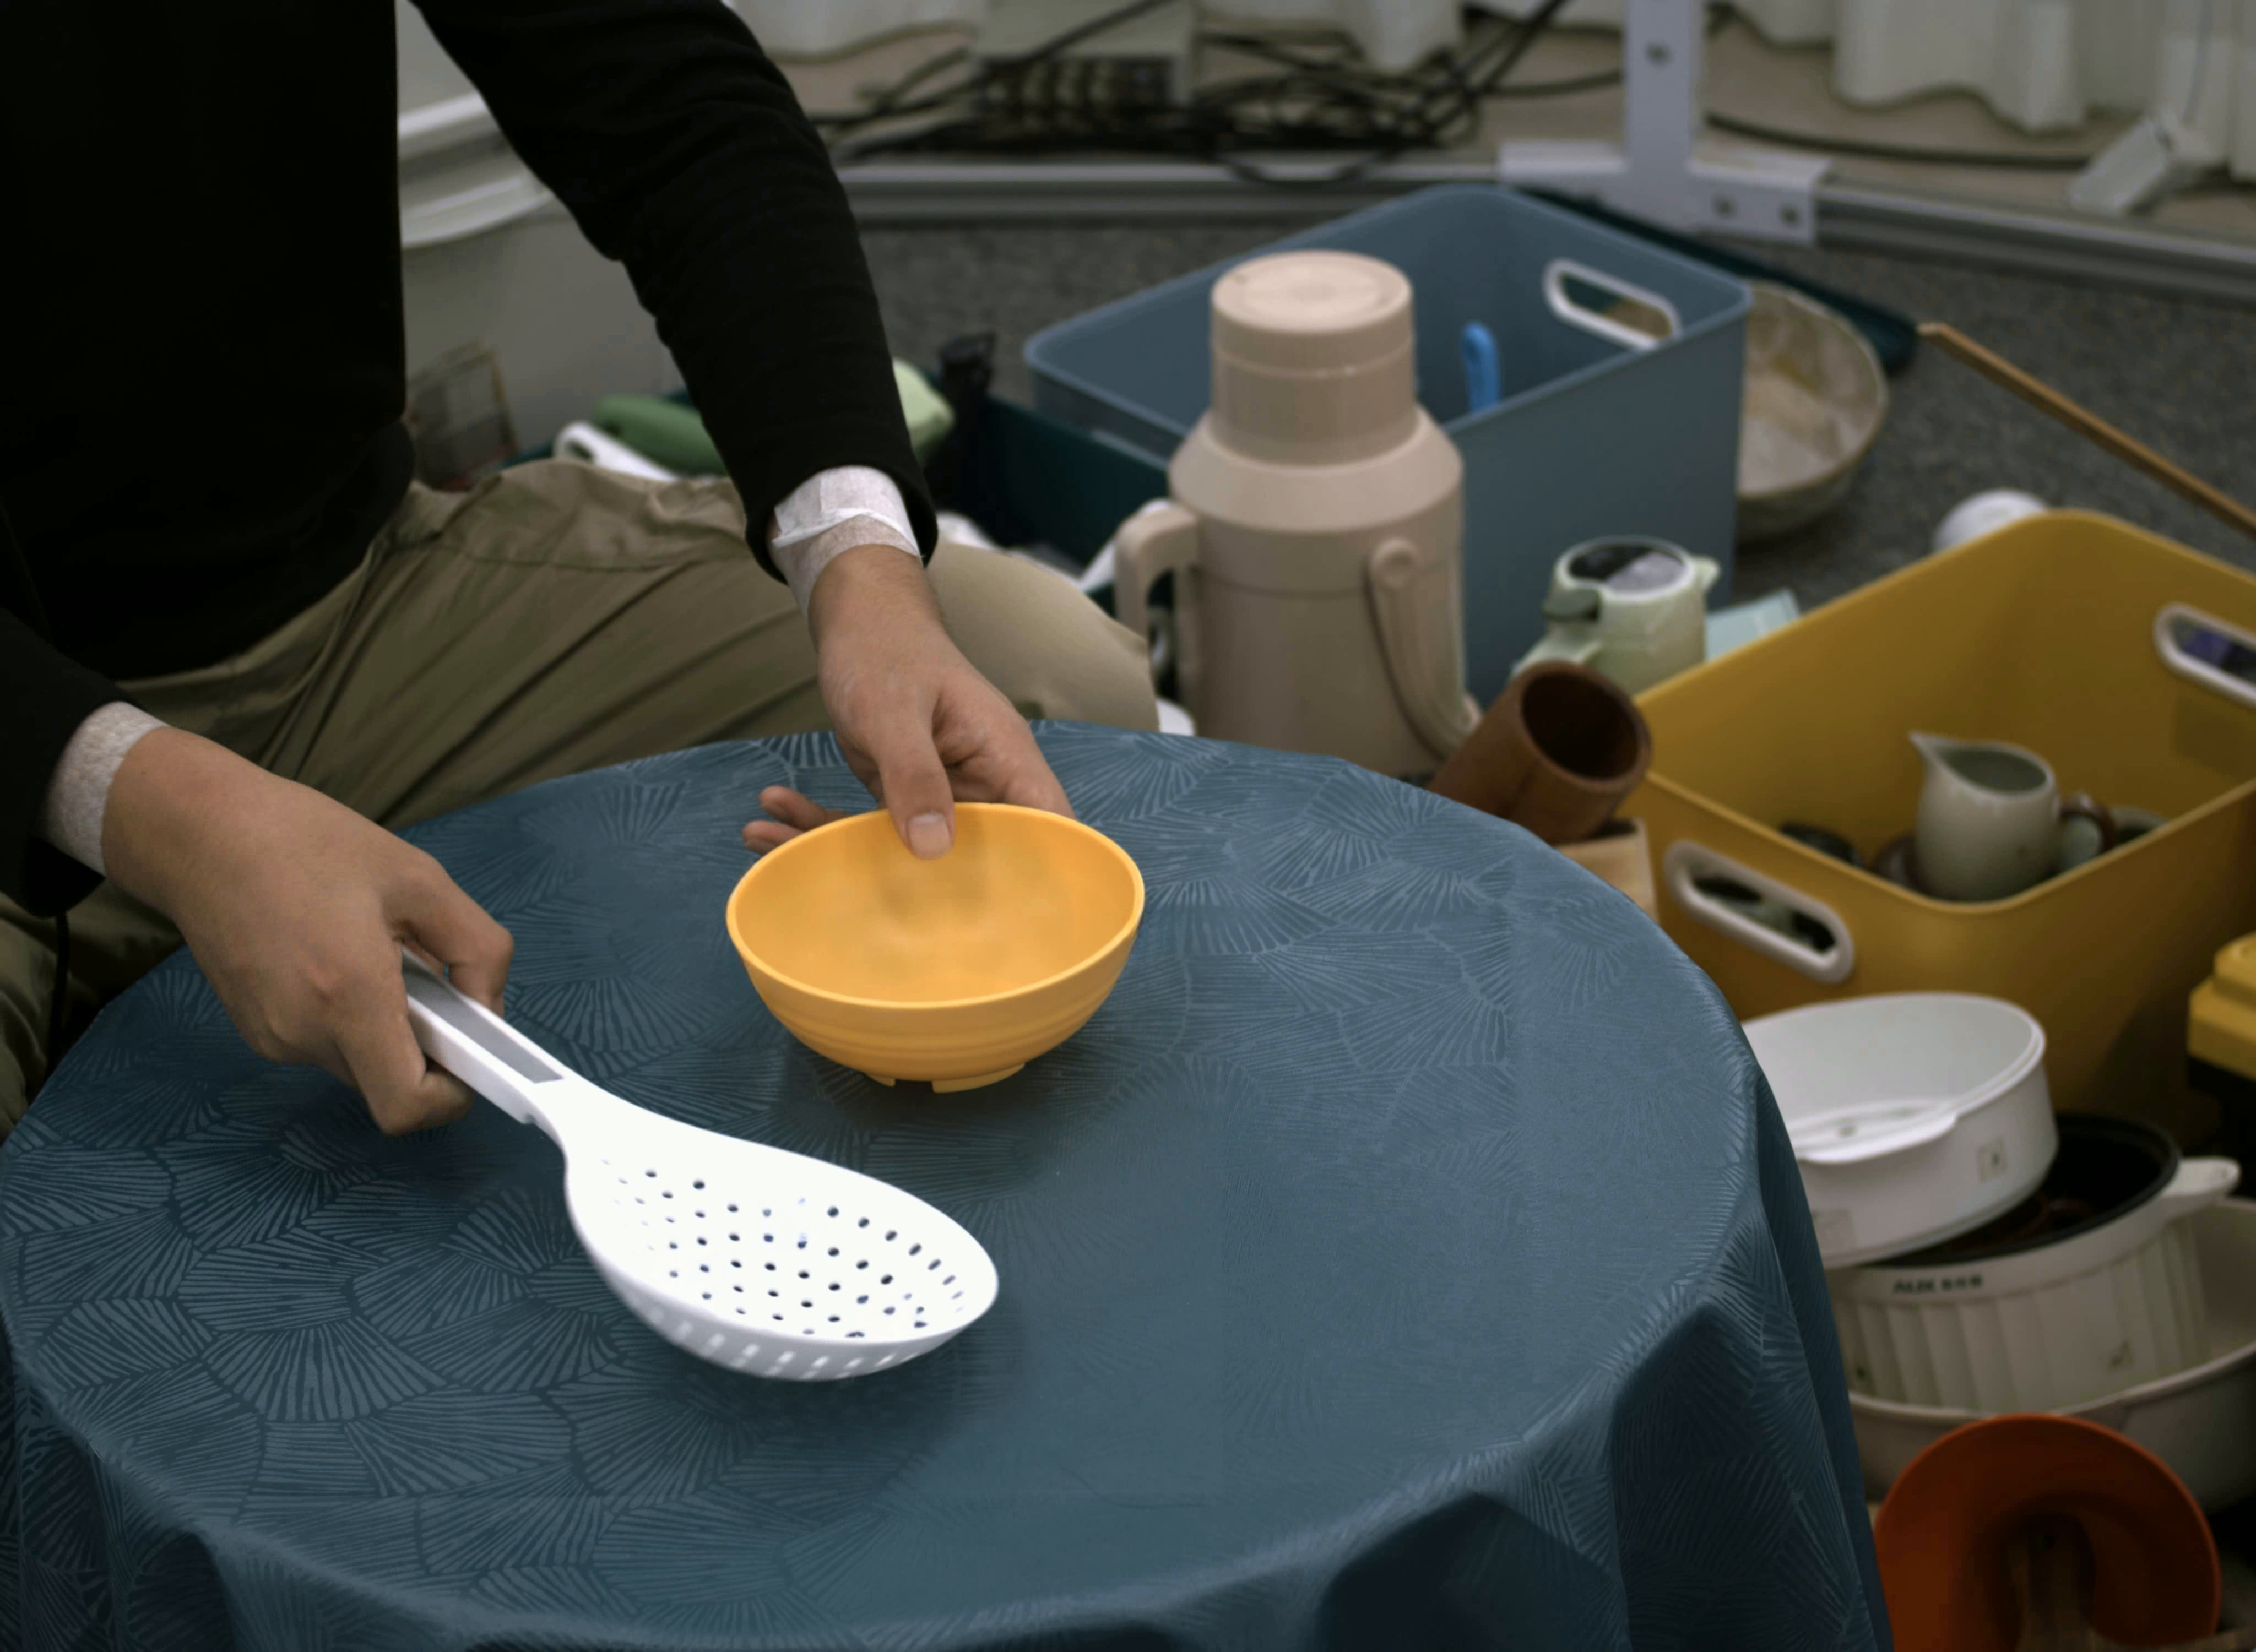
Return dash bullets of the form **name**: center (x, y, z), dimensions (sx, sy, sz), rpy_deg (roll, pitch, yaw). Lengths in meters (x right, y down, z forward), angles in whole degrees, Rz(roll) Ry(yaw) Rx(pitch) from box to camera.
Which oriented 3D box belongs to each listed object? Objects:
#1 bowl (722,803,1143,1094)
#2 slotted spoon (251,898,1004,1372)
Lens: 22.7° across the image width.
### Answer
- **bowl**: center (-0.066, 0.052, 1.942), dimensions (0.144, 0.059, 0.147), rpy_deg (-1, 28, 1)
- **slotted spoon**: center (-0.179, 0.096, 1.836), dimensions (0.137, 0.045, 0.351), rpy_deg (-2, 27, -46)
